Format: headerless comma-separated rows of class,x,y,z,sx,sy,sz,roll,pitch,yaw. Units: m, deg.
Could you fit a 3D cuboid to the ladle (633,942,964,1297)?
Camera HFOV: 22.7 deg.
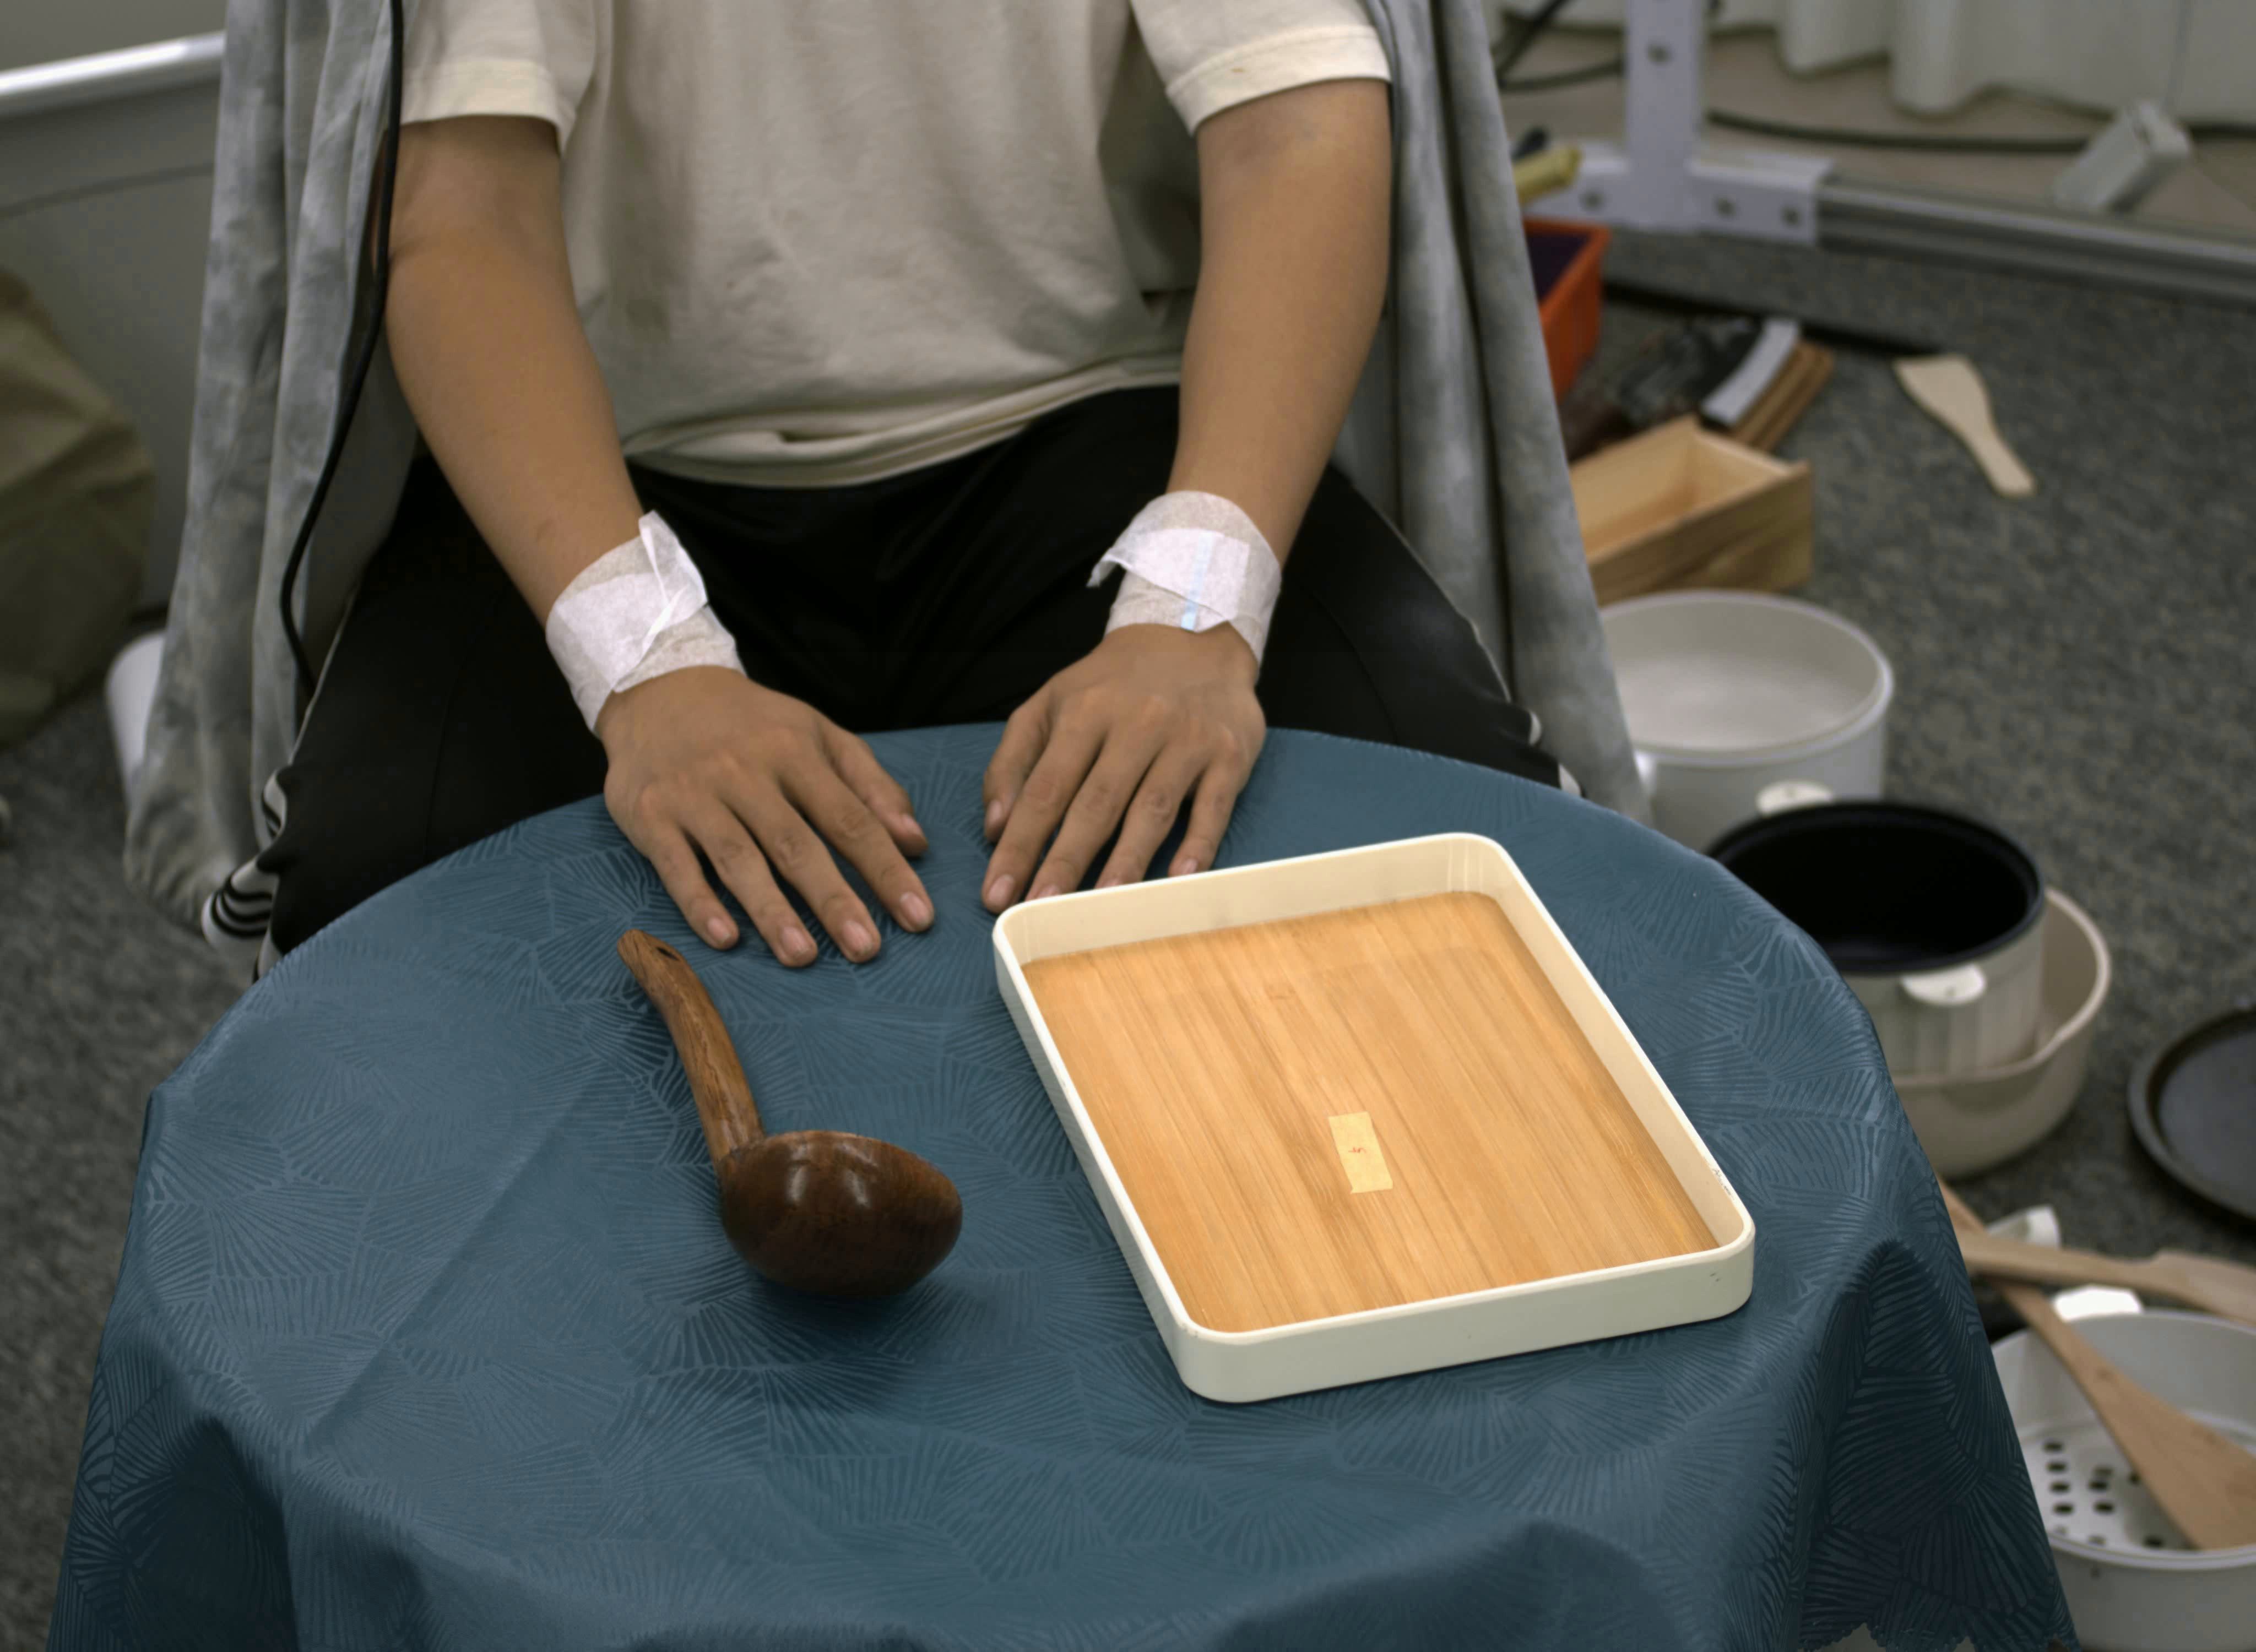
ladle,-0.120,0.078,1.880,0.081,0.076,0.277,30,14,-25

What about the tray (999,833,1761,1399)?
tray,0.078,0.091,1.881,0.191,0.027,0.303,-9,28,-11
